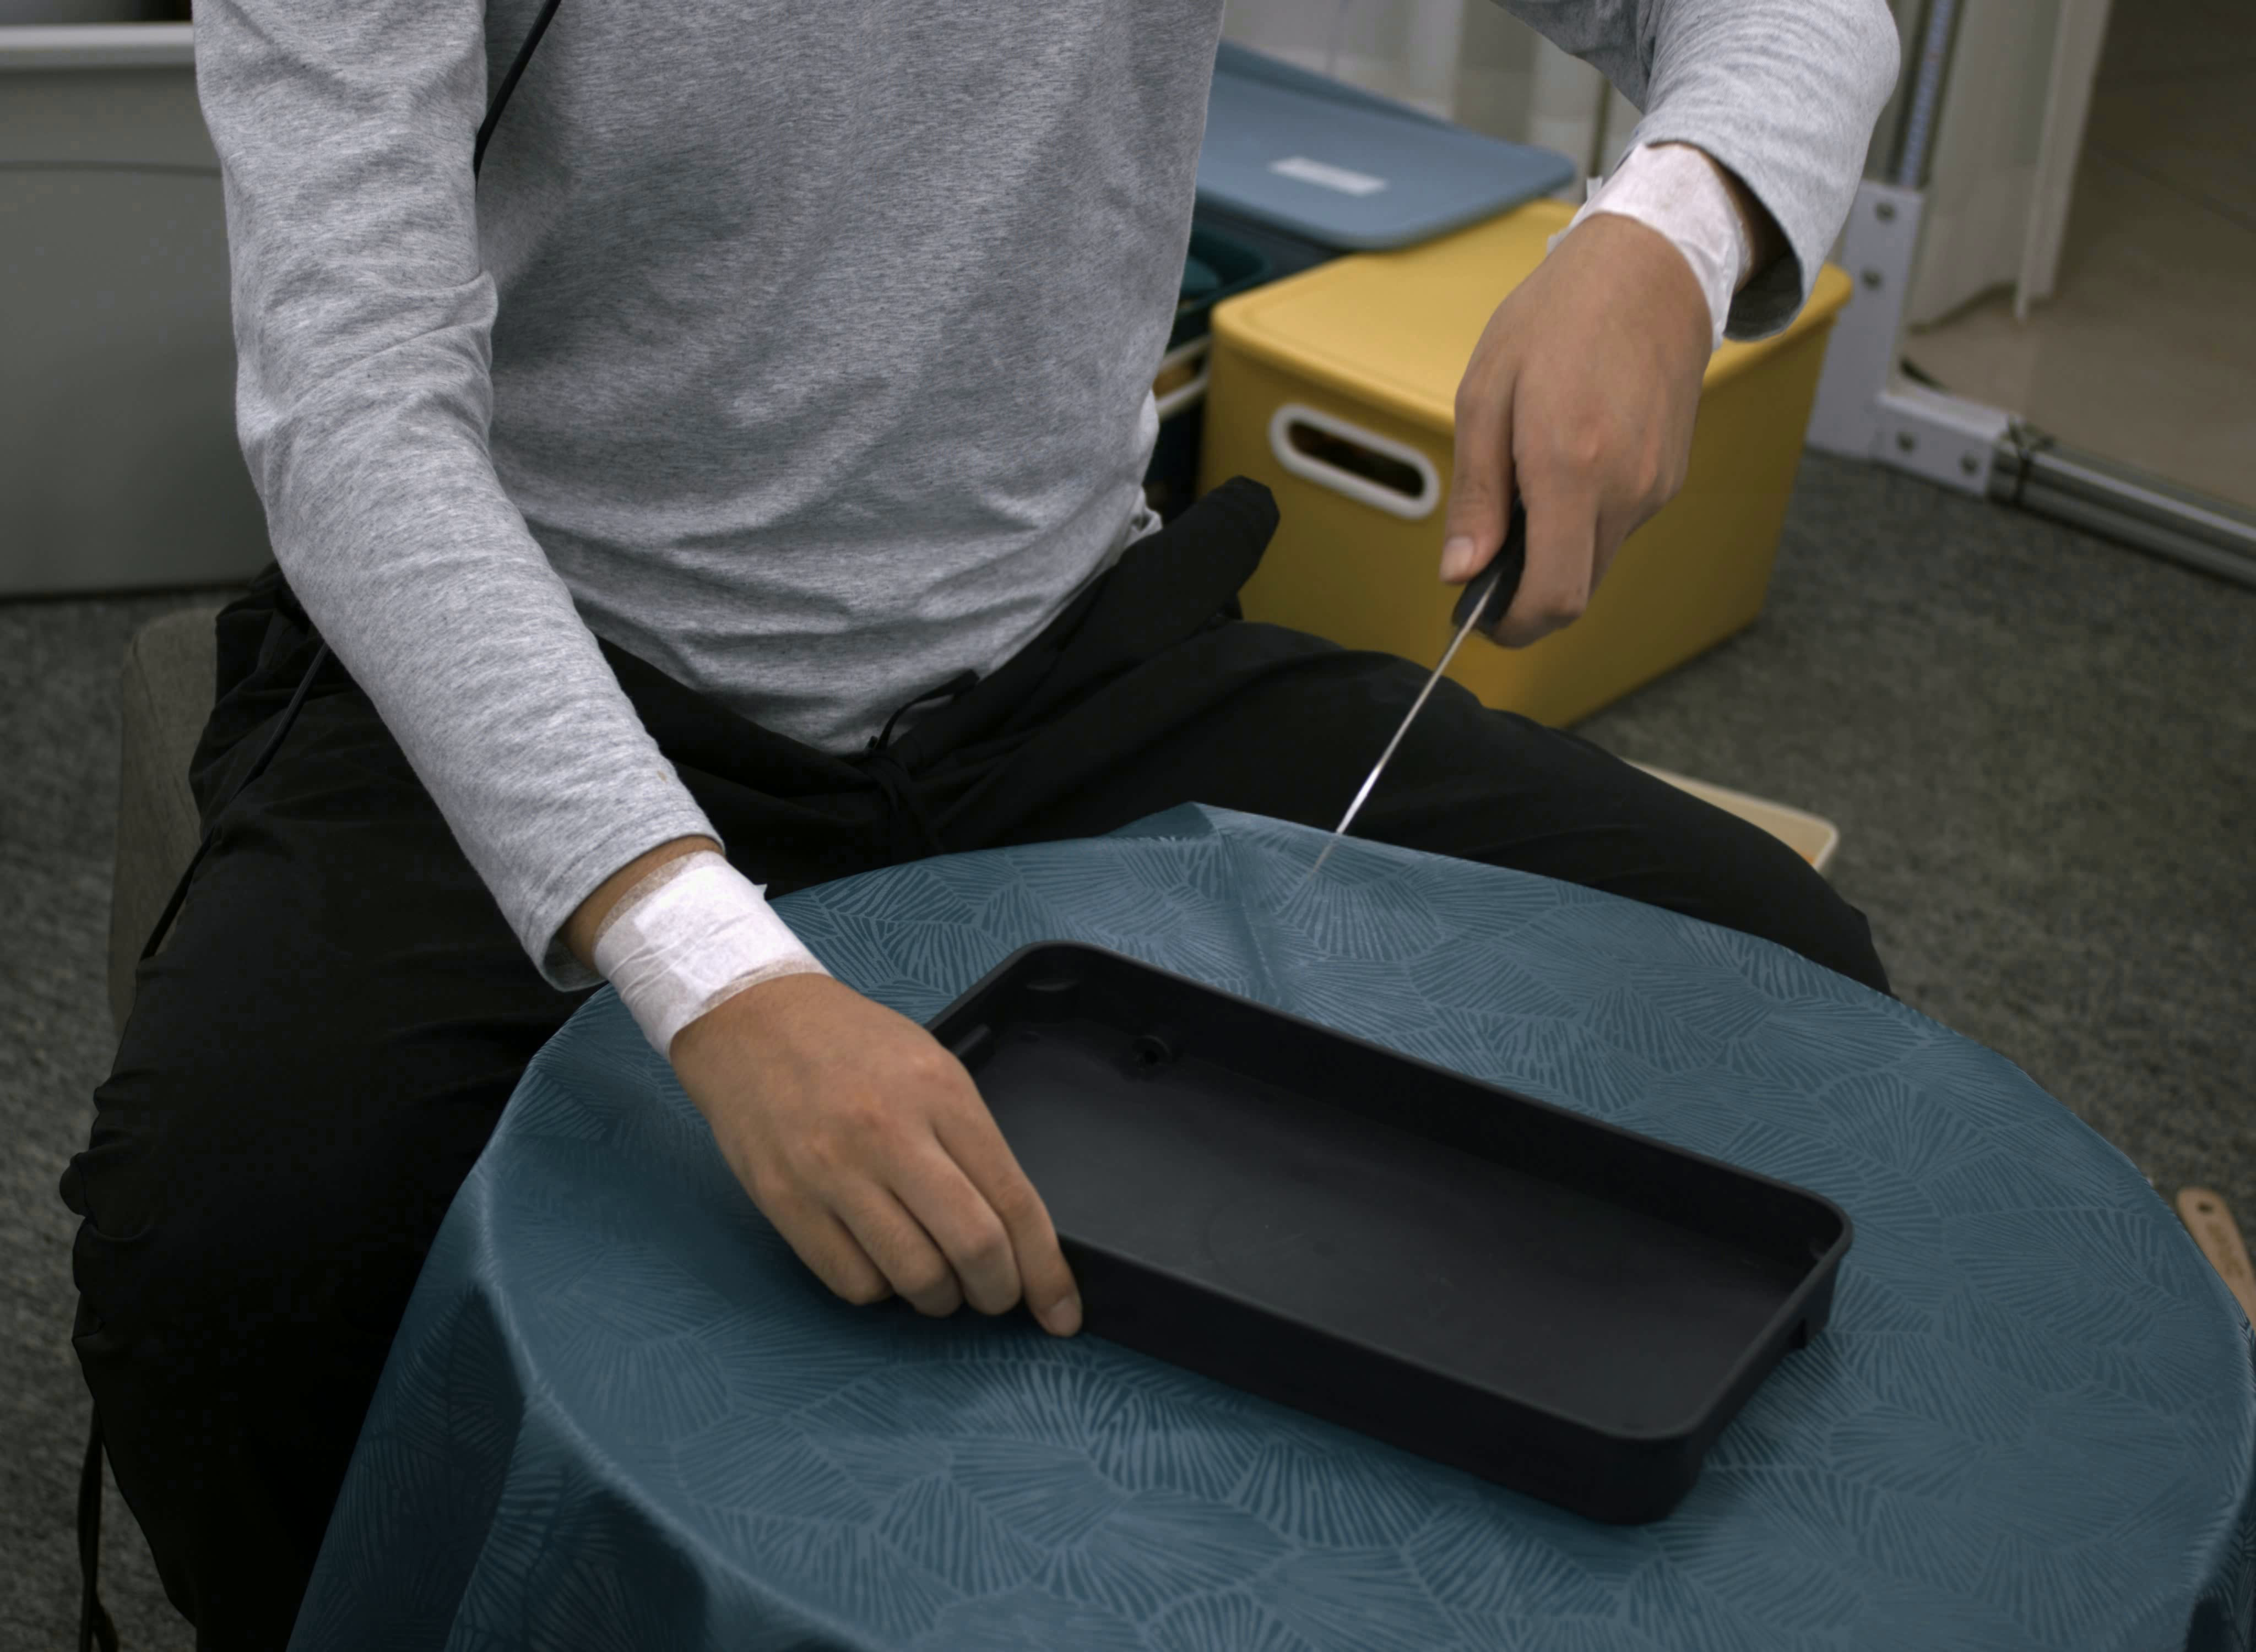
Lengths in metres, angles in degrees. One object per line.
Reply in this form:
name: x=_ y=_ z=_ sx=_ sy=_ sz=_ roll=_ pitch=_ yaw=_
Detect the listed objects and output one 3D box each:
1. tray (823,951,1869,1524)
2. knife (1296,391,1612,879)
tray: x=0.071 y=0.132 z=1.767 sx=0.319 sy=0.037 sz=0.184 roll=17 pitch=28 yaw=21
knife: x=0.108 y=-0.066 z=1.755 sx=0.016 sy=0.024 sz=0.239 roll=33 pitch=55 yaw=0
